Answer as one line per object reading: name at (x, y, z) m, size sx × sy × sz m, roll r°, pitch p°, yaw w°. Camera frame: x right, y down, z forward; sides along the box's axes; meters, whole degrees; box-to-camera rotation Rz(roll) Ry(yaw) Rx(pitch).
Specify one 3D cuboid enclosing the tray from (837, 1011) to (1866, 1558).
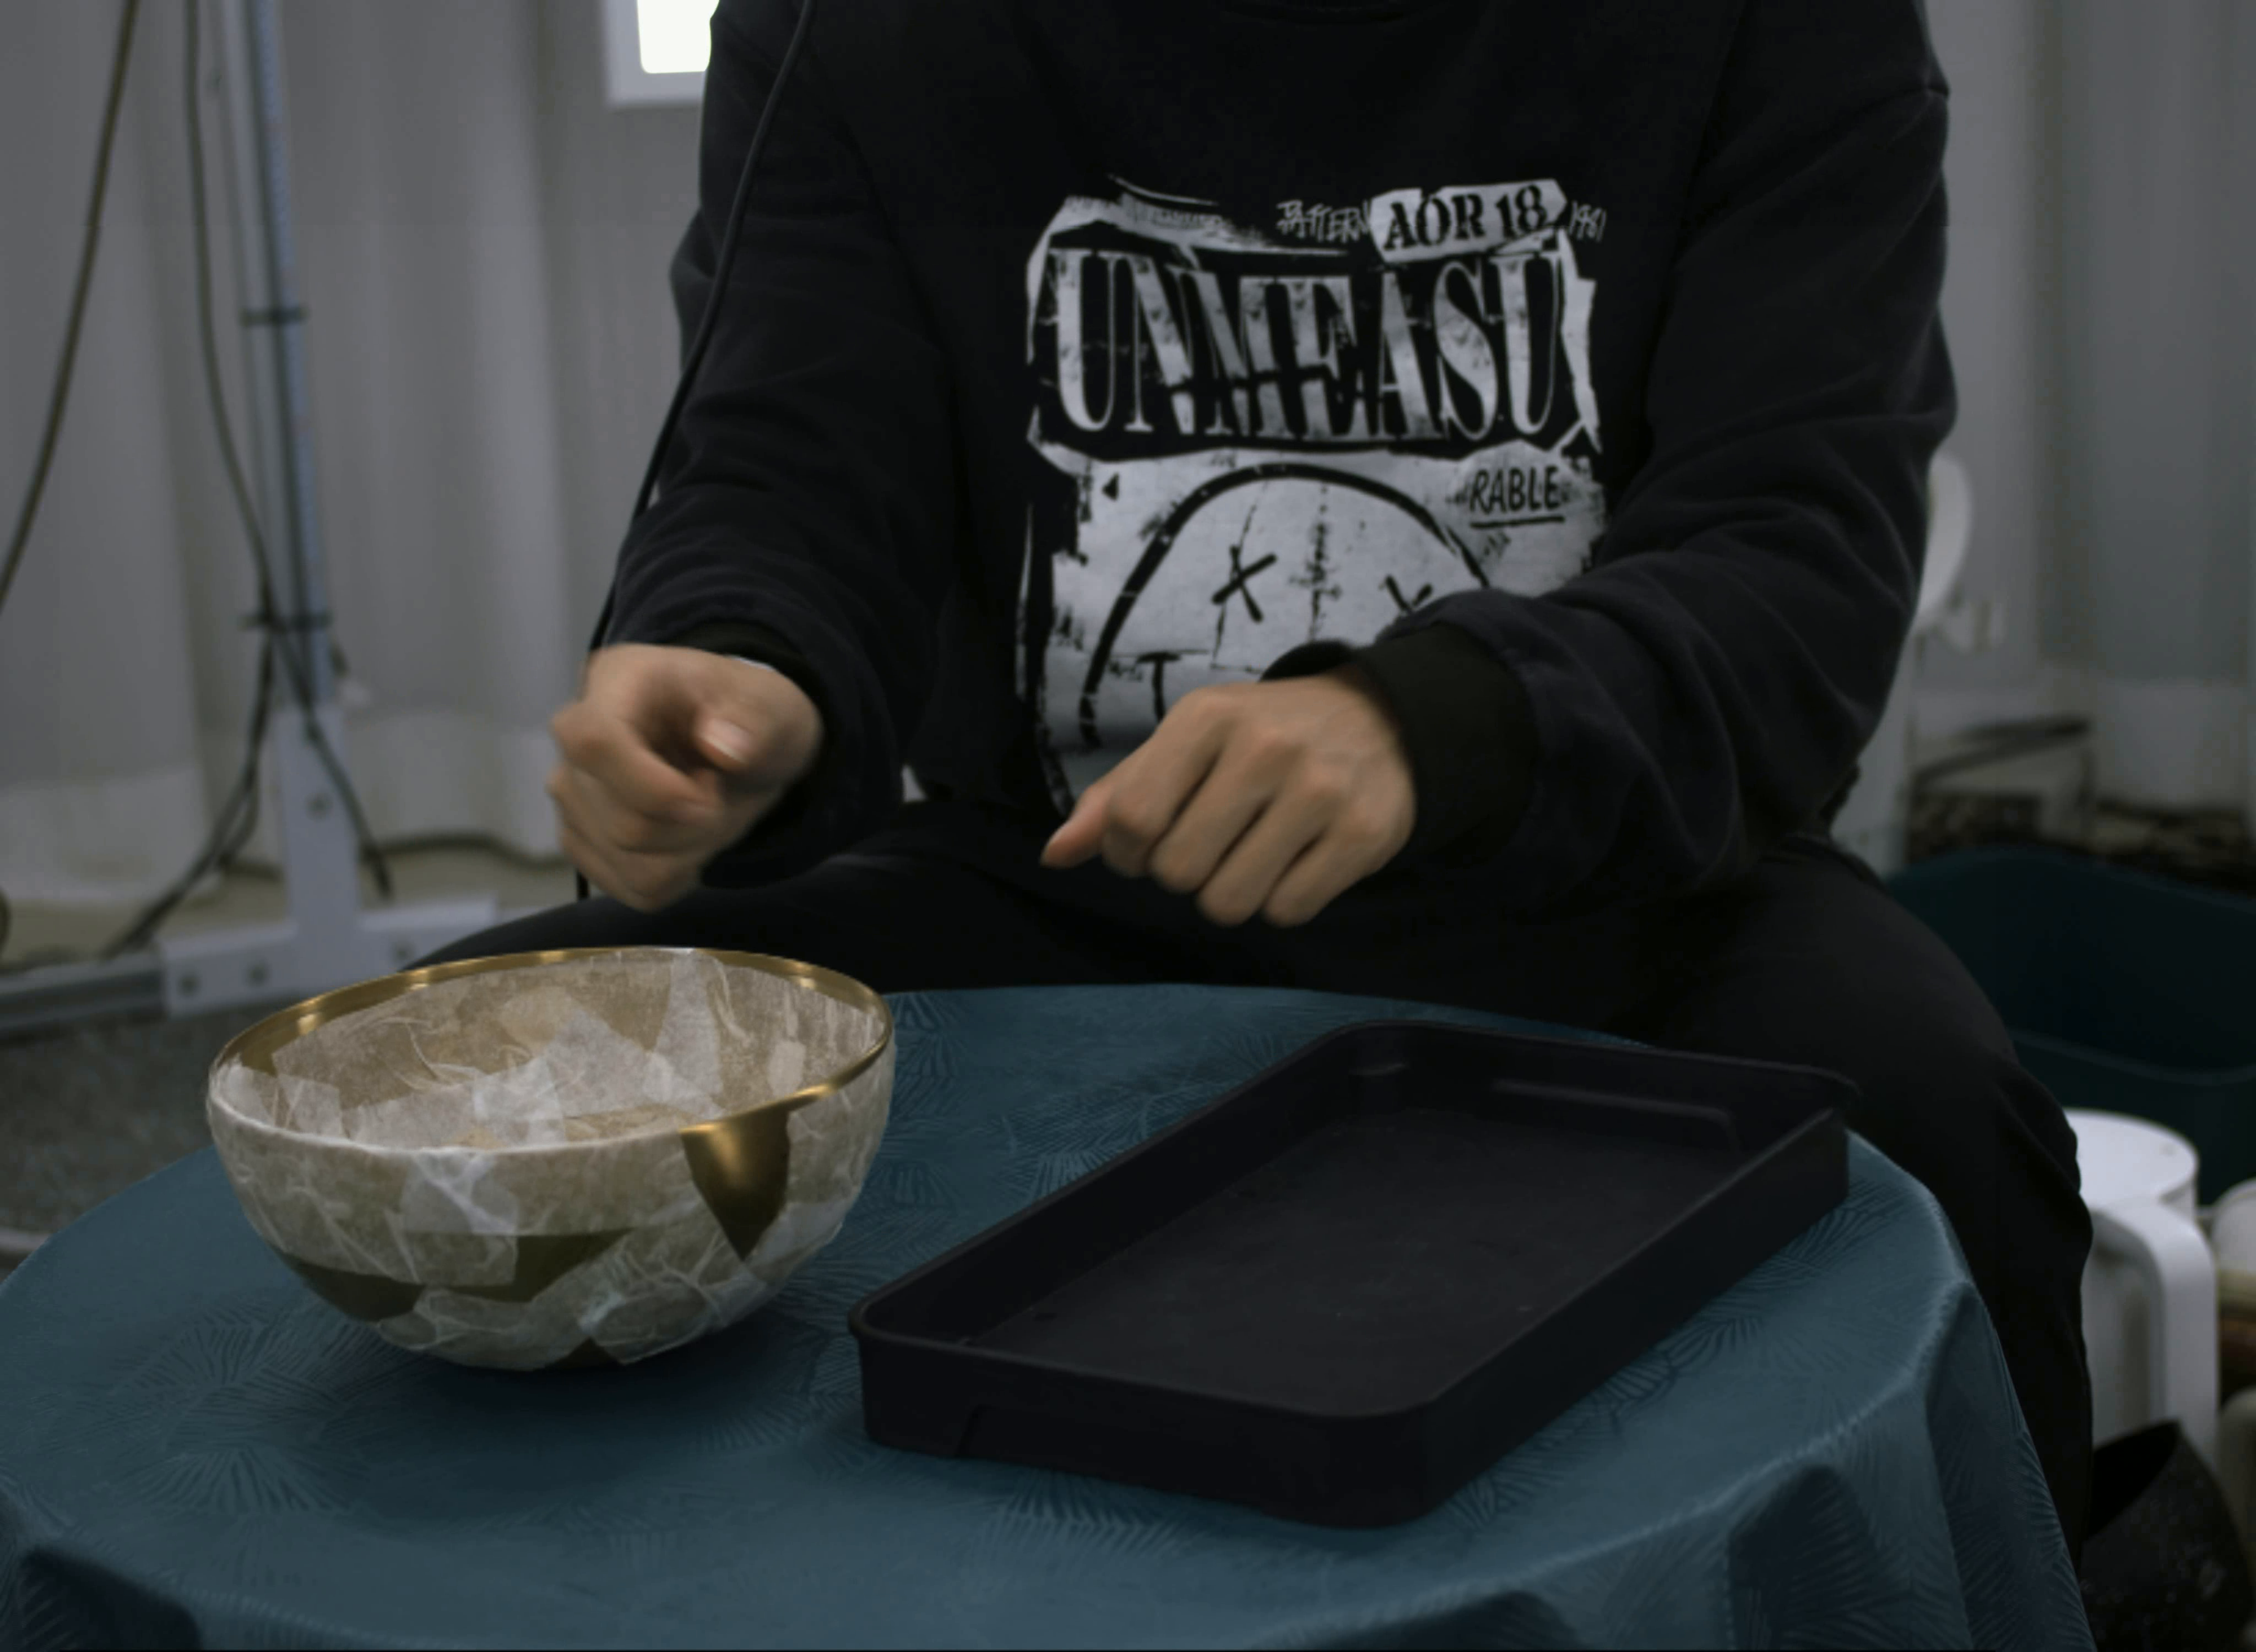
tray at (0.073, 0.126, 1.598) m, size 0.185 × 0.037 × 0.318 m, roll 8°, pitch 20°, yaw 32°

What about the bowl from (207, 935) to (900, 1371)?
bowl at (-0.161, 0.104, 1.605) m, size 0.214 × 0.094 × 0.216 m, roll -4°, pitch 15°, yaw 1°
